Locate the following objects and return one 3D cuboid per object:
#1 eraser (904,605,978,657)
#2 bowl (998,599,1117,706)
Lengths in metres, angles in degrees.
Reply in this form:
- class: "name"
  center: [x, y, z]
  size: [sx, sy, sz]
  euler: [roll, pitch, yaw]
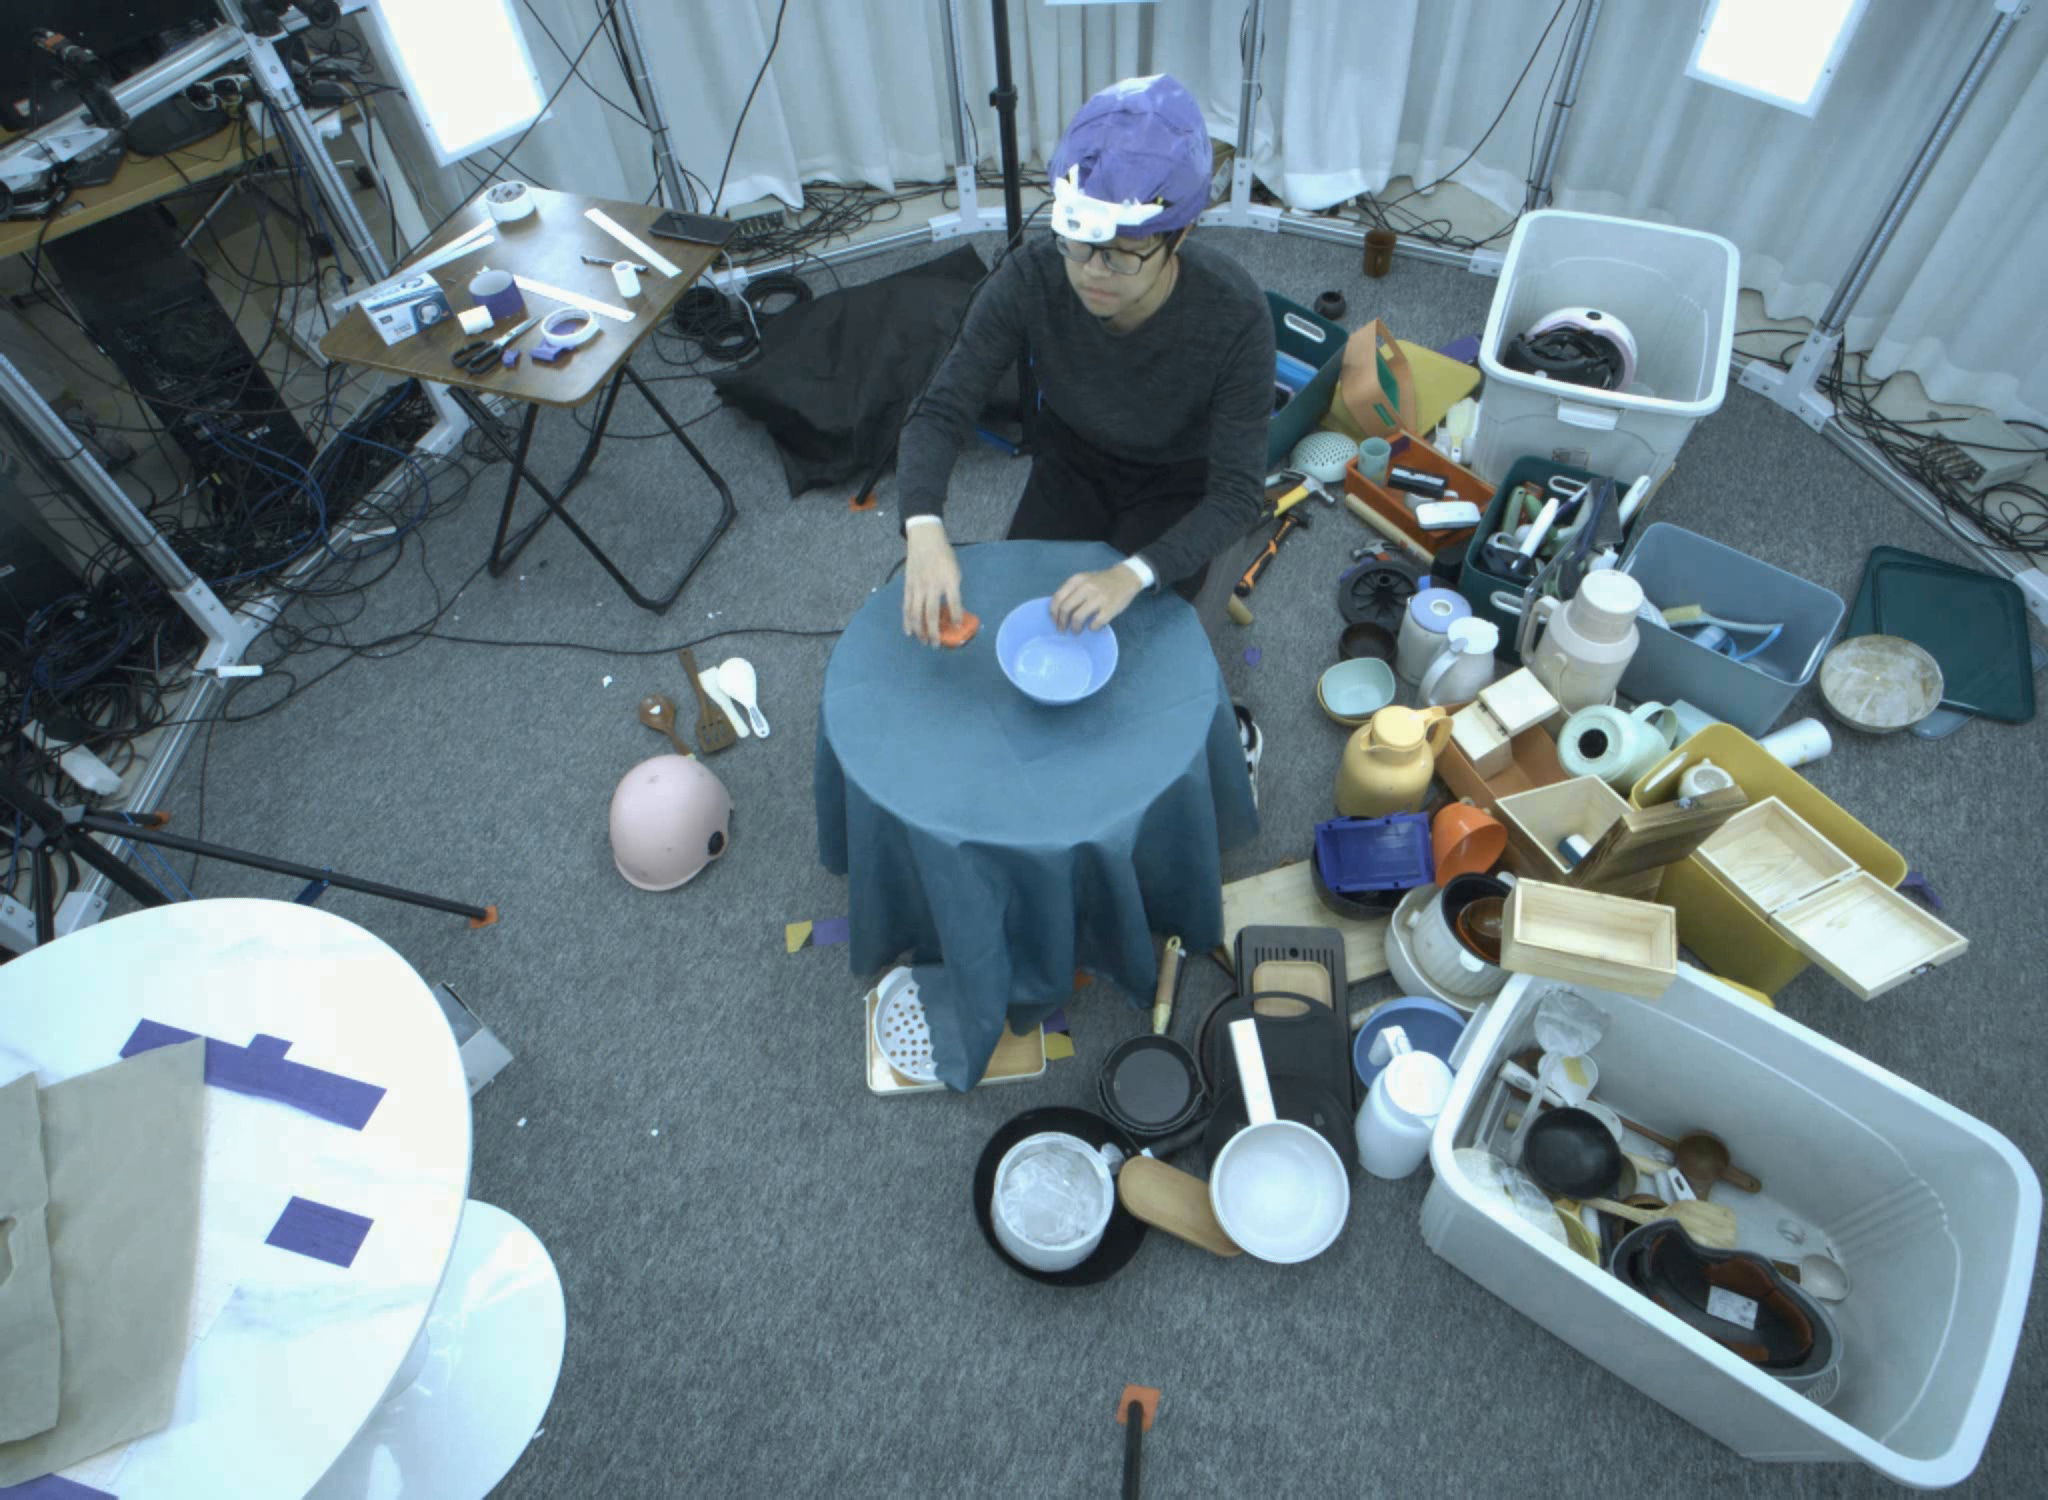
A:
- class: "eraser"
  center: [-0.123, -0.177, 1.810]
  size: [0.105, 0.023, 0.059]
  euler: [24, 64, 36]
- class: "bowl"
  center: [0.046, -0.131, 1.806]
  size: [0.177, 0.070, 0.174]
  euler: [4, 63, -6]
